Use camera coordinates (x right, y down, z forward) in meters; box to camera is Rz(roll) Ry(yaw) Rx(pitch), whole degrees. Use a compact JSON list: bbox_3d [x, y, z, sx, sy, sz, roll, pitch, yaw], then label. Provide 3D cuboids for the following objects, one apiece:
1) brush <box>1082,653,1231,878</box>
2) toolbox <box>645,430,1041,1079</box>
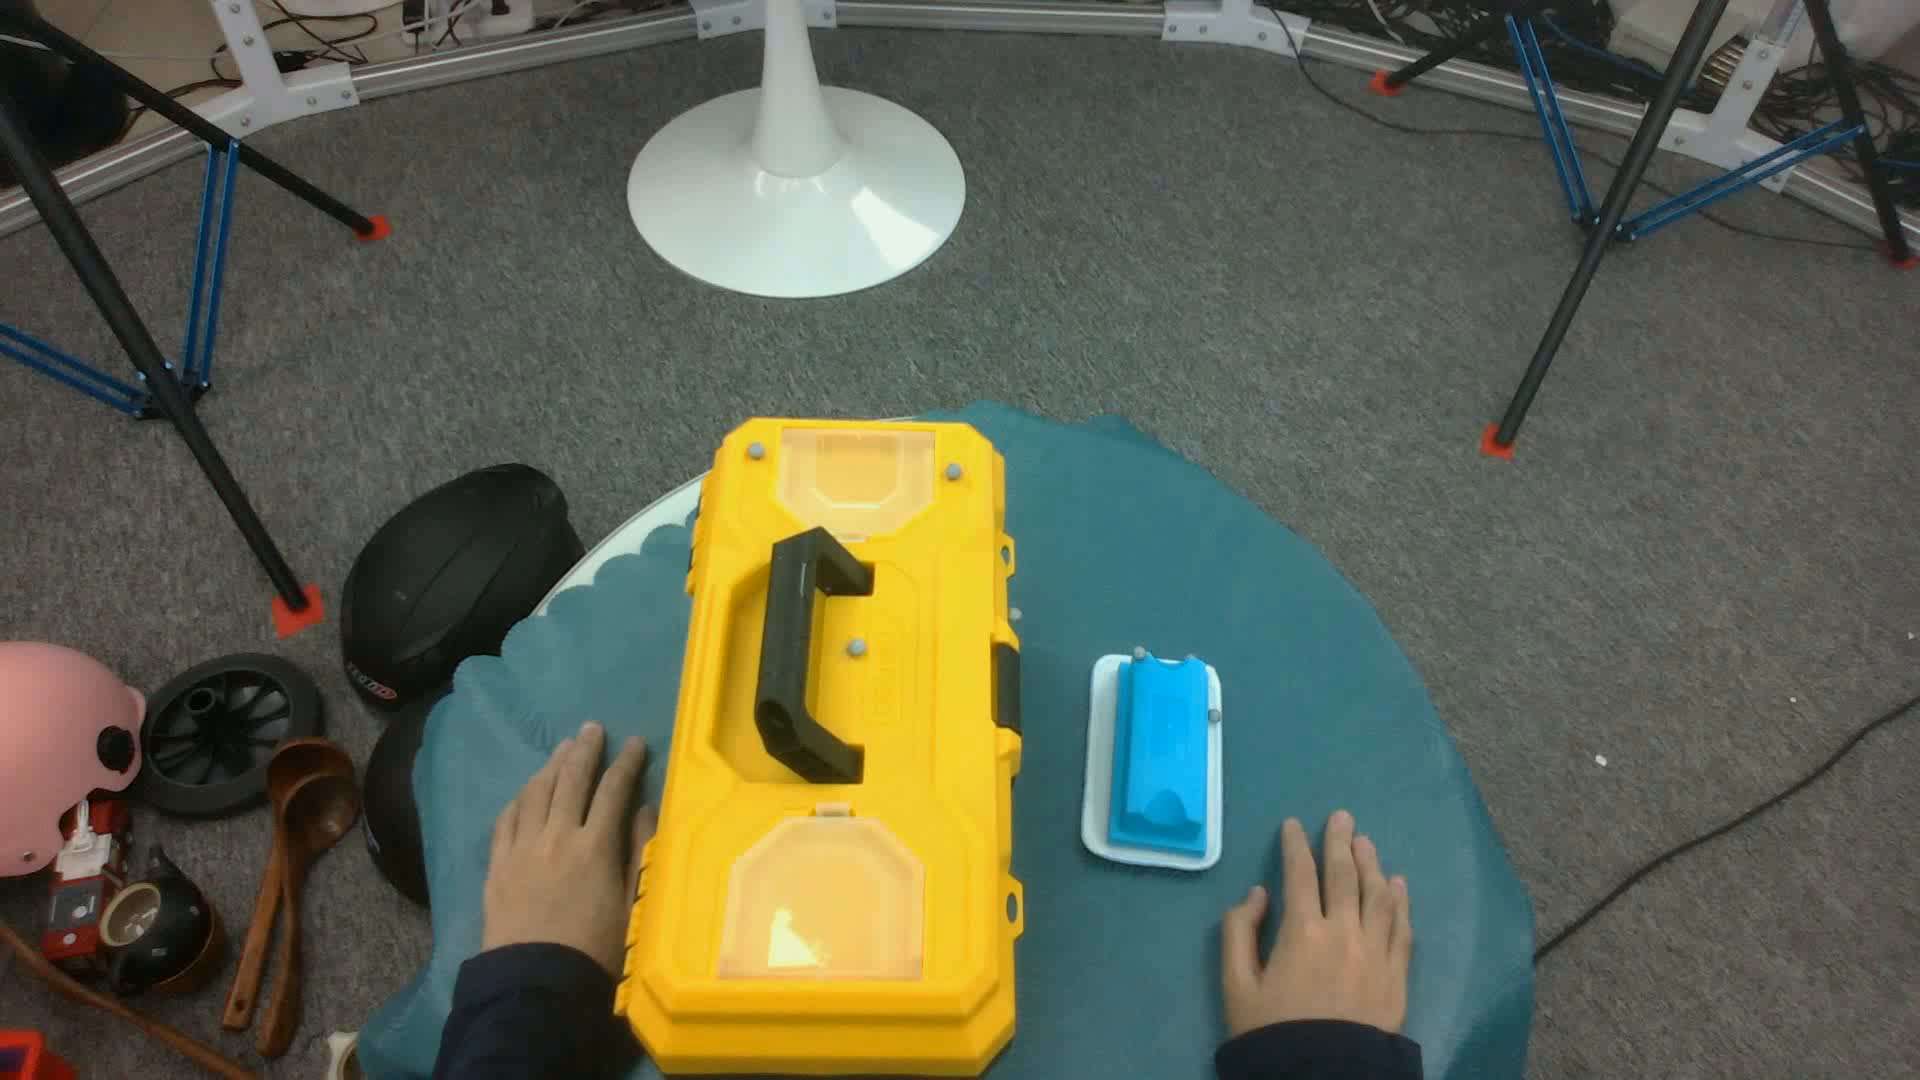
[{"bbox_3d":[0.118,0.124,0.807,0.084,0.055,0.144,6,50,7],"label":"brush"},{"bbox_3d":[-0.056,0.115,0.736,0.181,0.172,0.353,0,51,-1],"label":"toolbox"}]
